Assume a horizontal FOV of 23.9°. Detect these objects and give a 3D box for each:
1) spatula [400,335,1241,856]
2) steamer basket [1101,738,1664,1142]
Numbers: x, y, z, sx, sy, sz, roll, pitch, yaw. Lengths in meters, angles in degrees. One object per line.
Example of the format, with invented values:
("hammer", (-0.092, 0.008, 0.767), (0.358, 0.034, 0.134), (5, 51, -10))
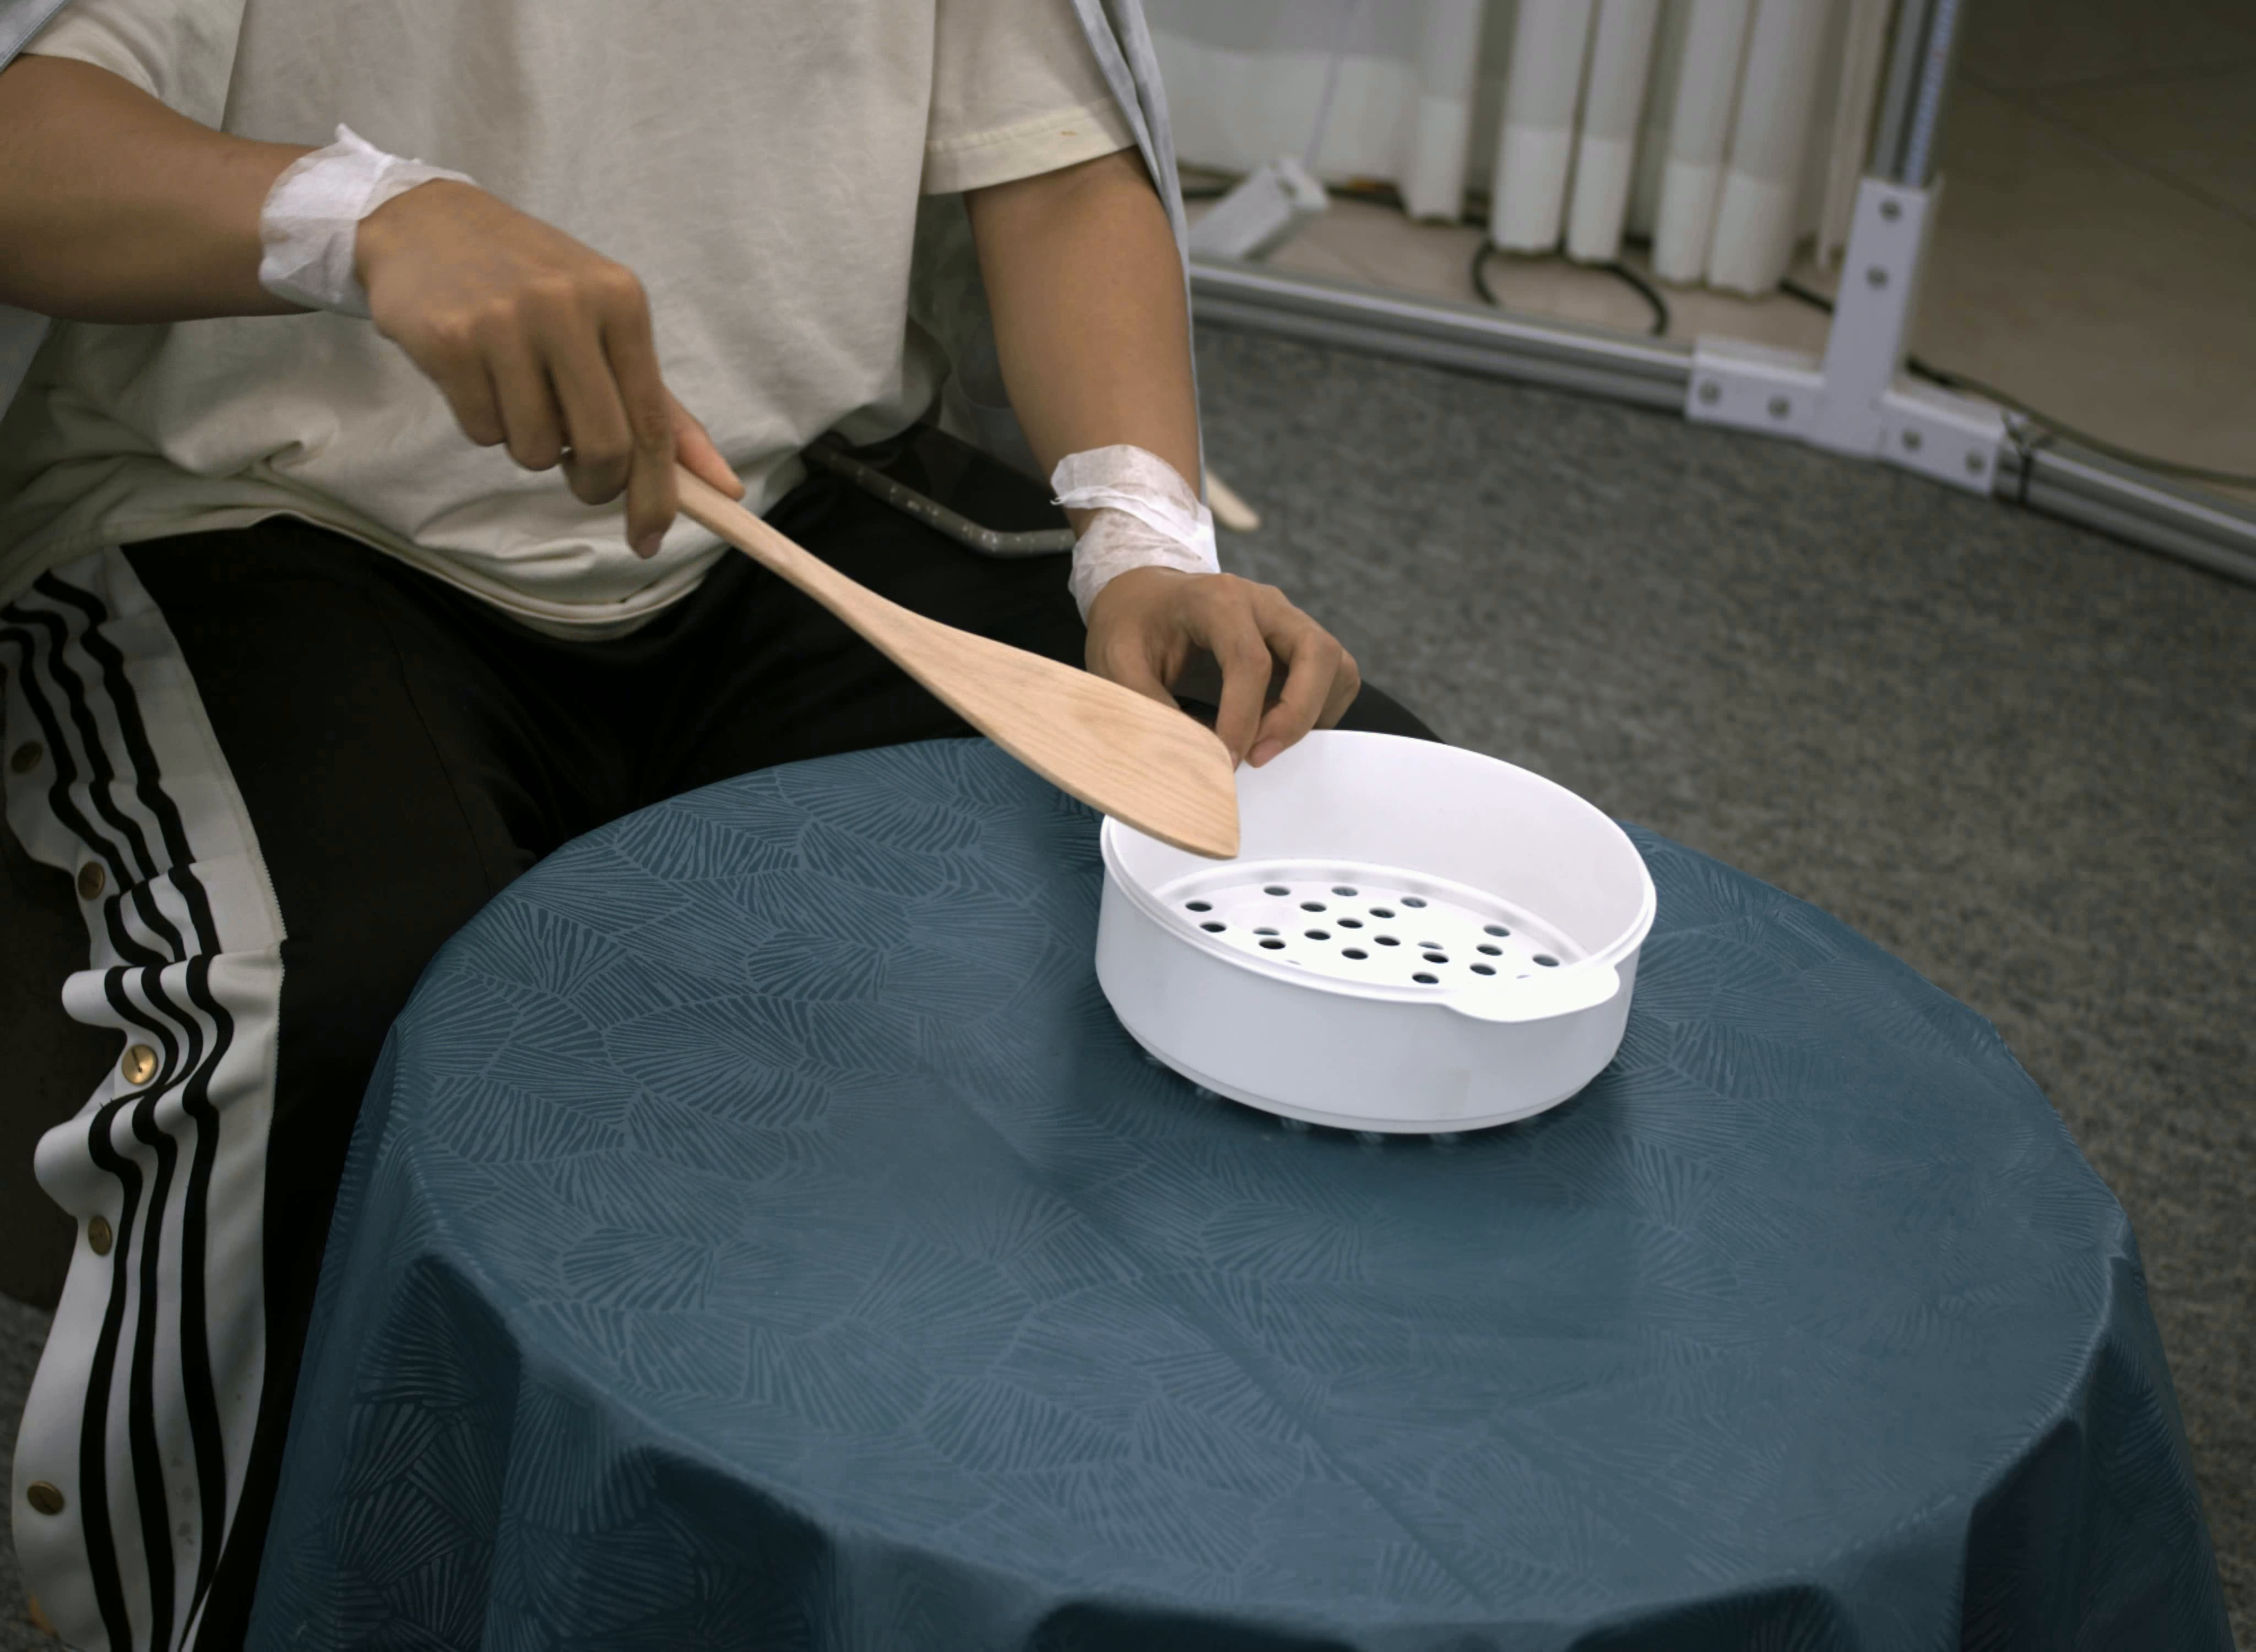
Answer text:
("spatula", (-0.101, -0.084, 1.806), (0.326, 0.016, 0.080), (30, 31, -9))
("steamer basket", (0.089, 0.042, 1.913), (0.200, 0.069, 0.232), (-9, 30, -30))
